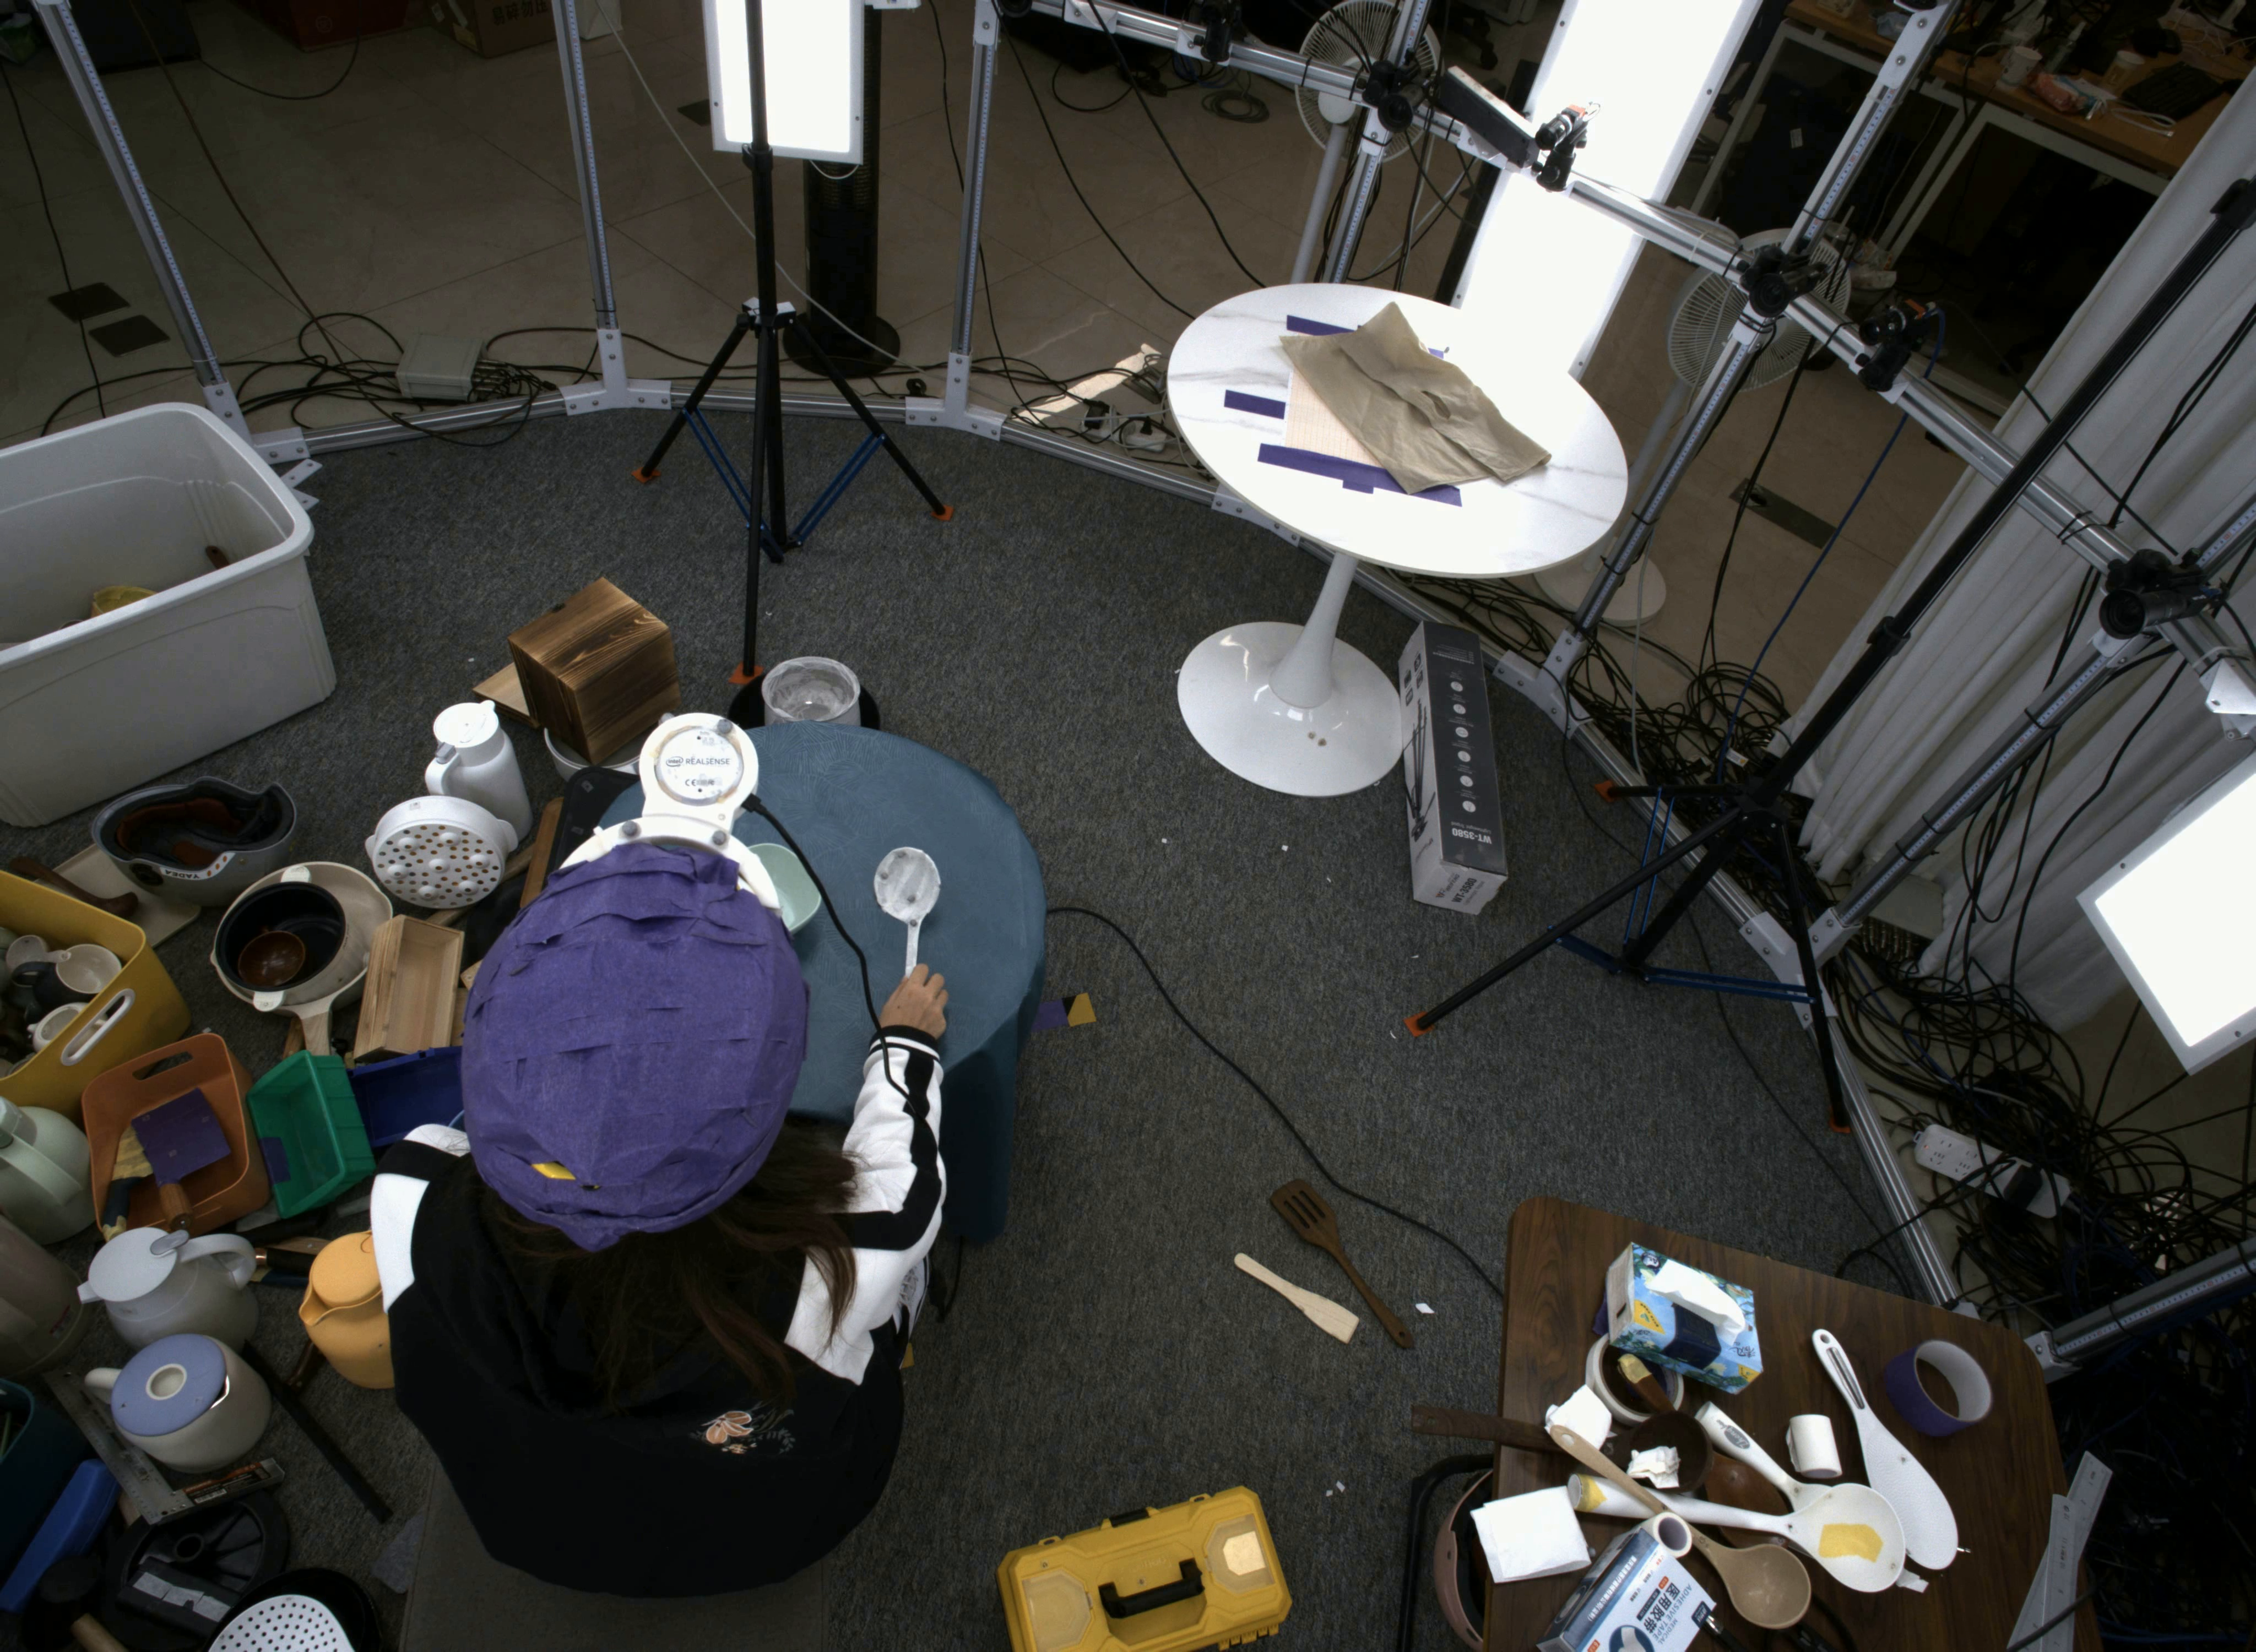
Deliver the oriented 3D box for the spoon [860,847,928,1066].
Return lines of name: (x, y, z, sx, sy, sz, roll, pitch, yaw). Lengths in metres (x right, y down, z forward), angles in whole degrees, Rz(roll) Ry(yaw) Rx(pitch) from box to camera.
spoon: (-0.298, 0.156, 1.602, 0.098, 0.061, 0.273, -17, 54, 24)

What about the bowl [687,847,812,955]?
bowl: (-0.466, 0.101, 1.598, 0.151, 0.060, 0.149, 8, 52, -9)
